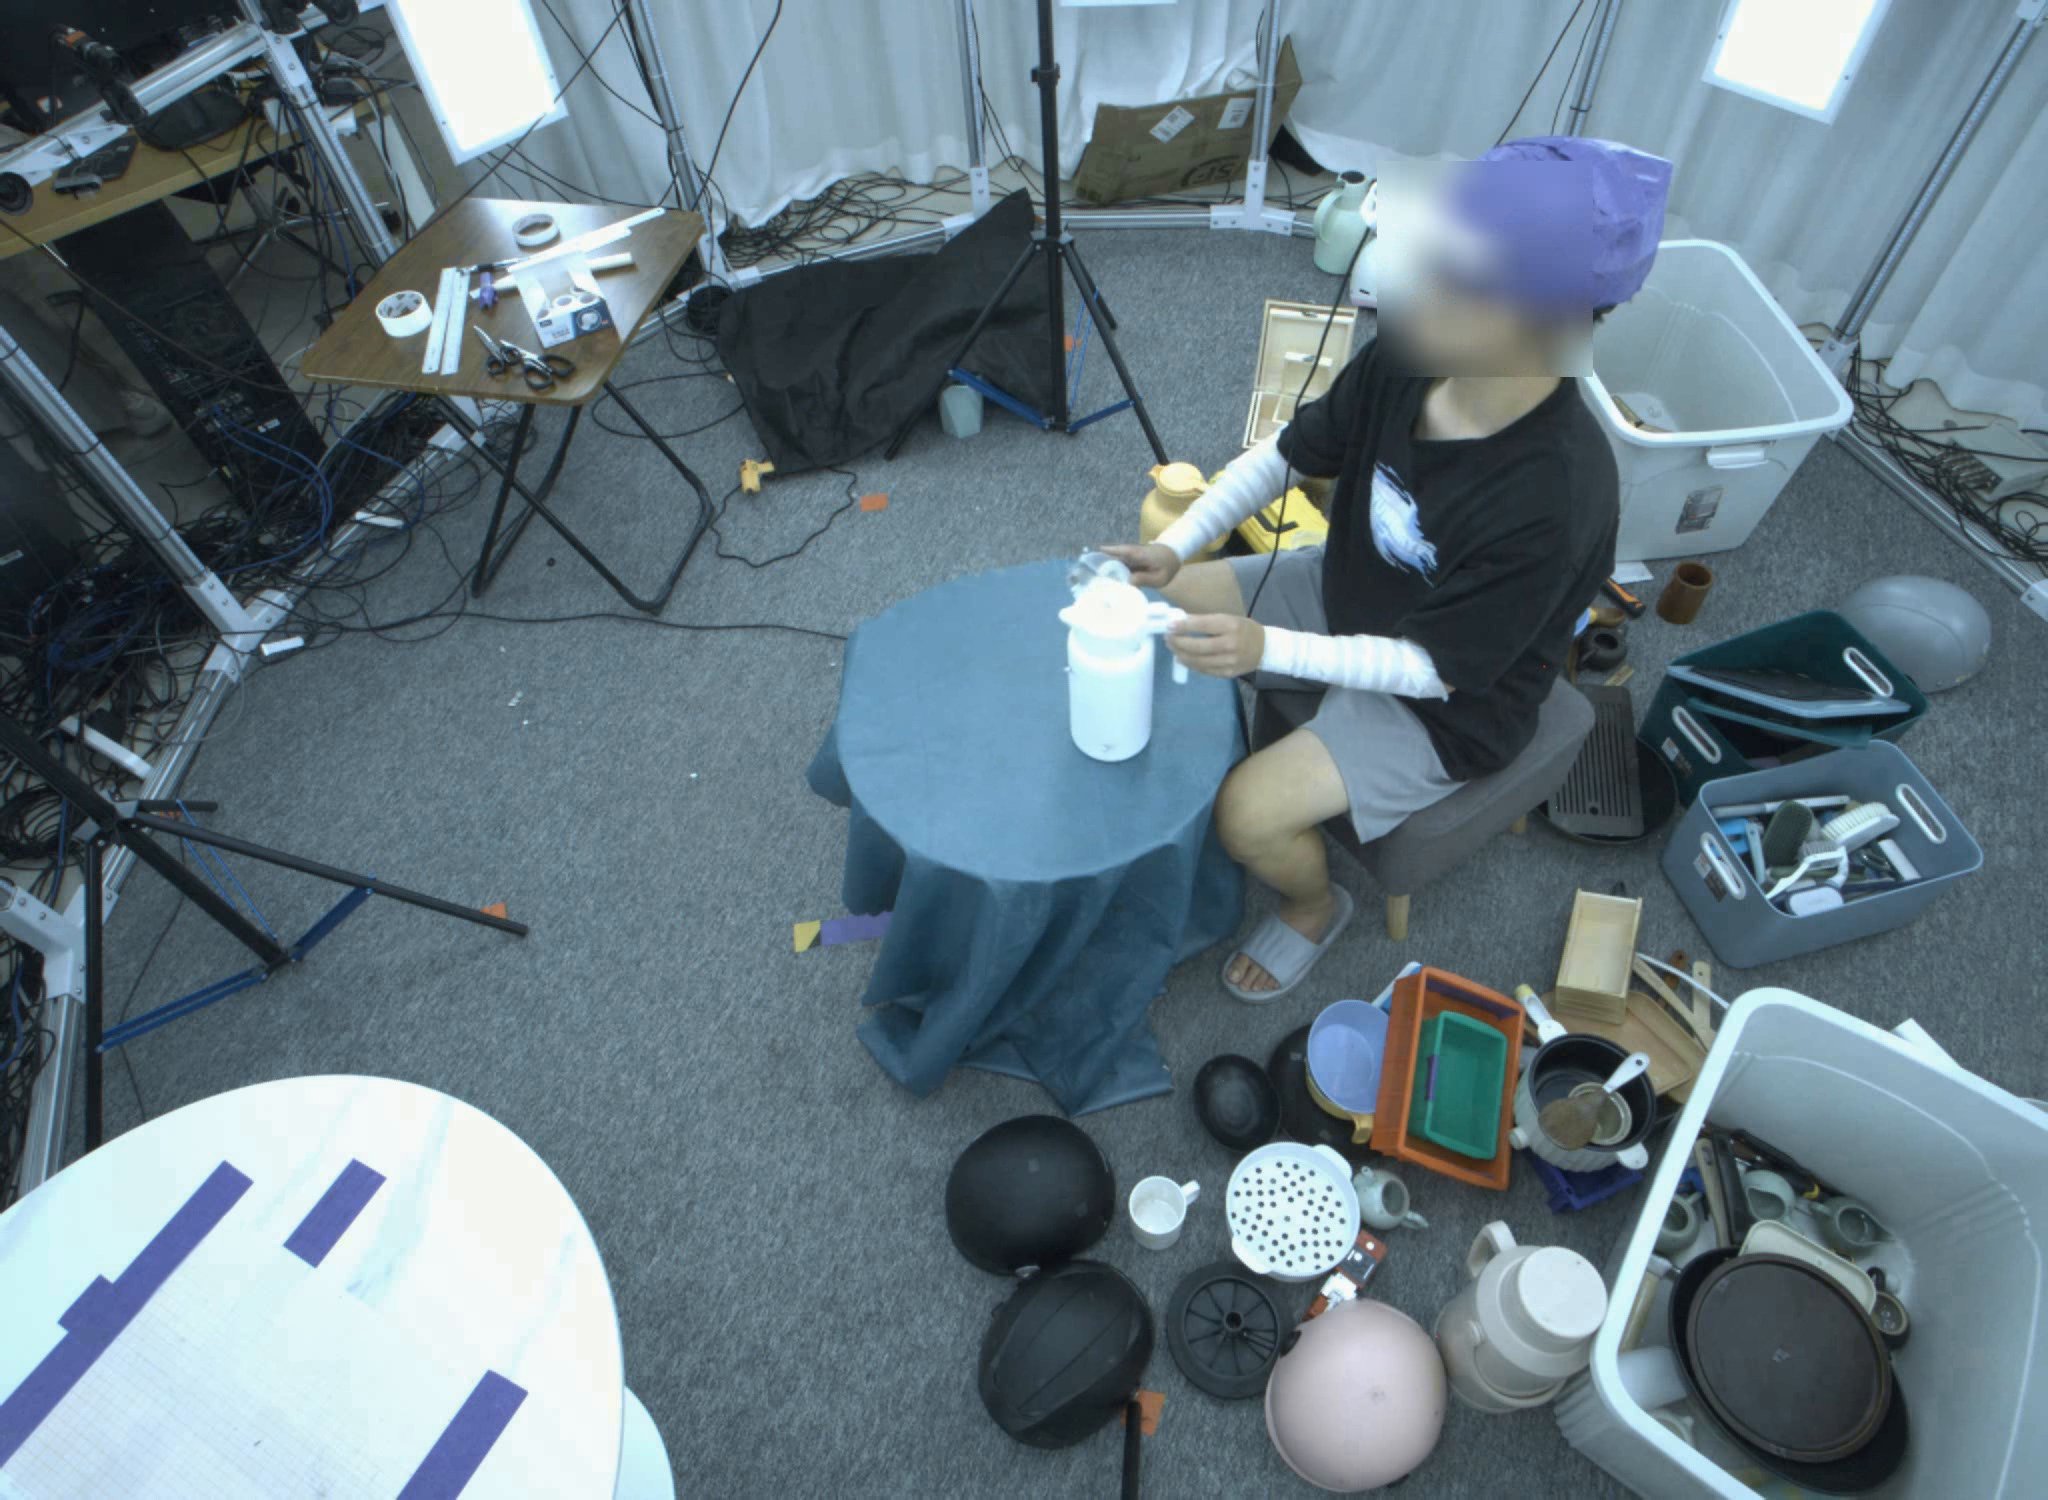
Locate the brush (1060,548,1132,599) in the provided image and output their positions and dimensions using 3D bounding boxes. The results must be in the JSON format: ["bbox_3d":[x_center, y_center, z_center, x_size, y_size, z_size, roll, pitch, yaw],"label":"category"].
[{"bbox_3d":[0.104,-0.233,1.726,0.060,0.179,0.094,-1,64,33],"label":"brush"}]

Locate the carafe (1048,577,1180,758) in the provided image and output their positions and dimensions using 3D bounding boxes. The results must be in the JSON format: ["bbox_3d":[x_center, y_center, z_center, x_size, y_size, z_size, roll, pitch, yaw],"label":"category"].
[{"bbox_3d":[0.124,-0.111,1.688,0.173,0.272,0.122,-4,52,1],"label":"carafe"}]
